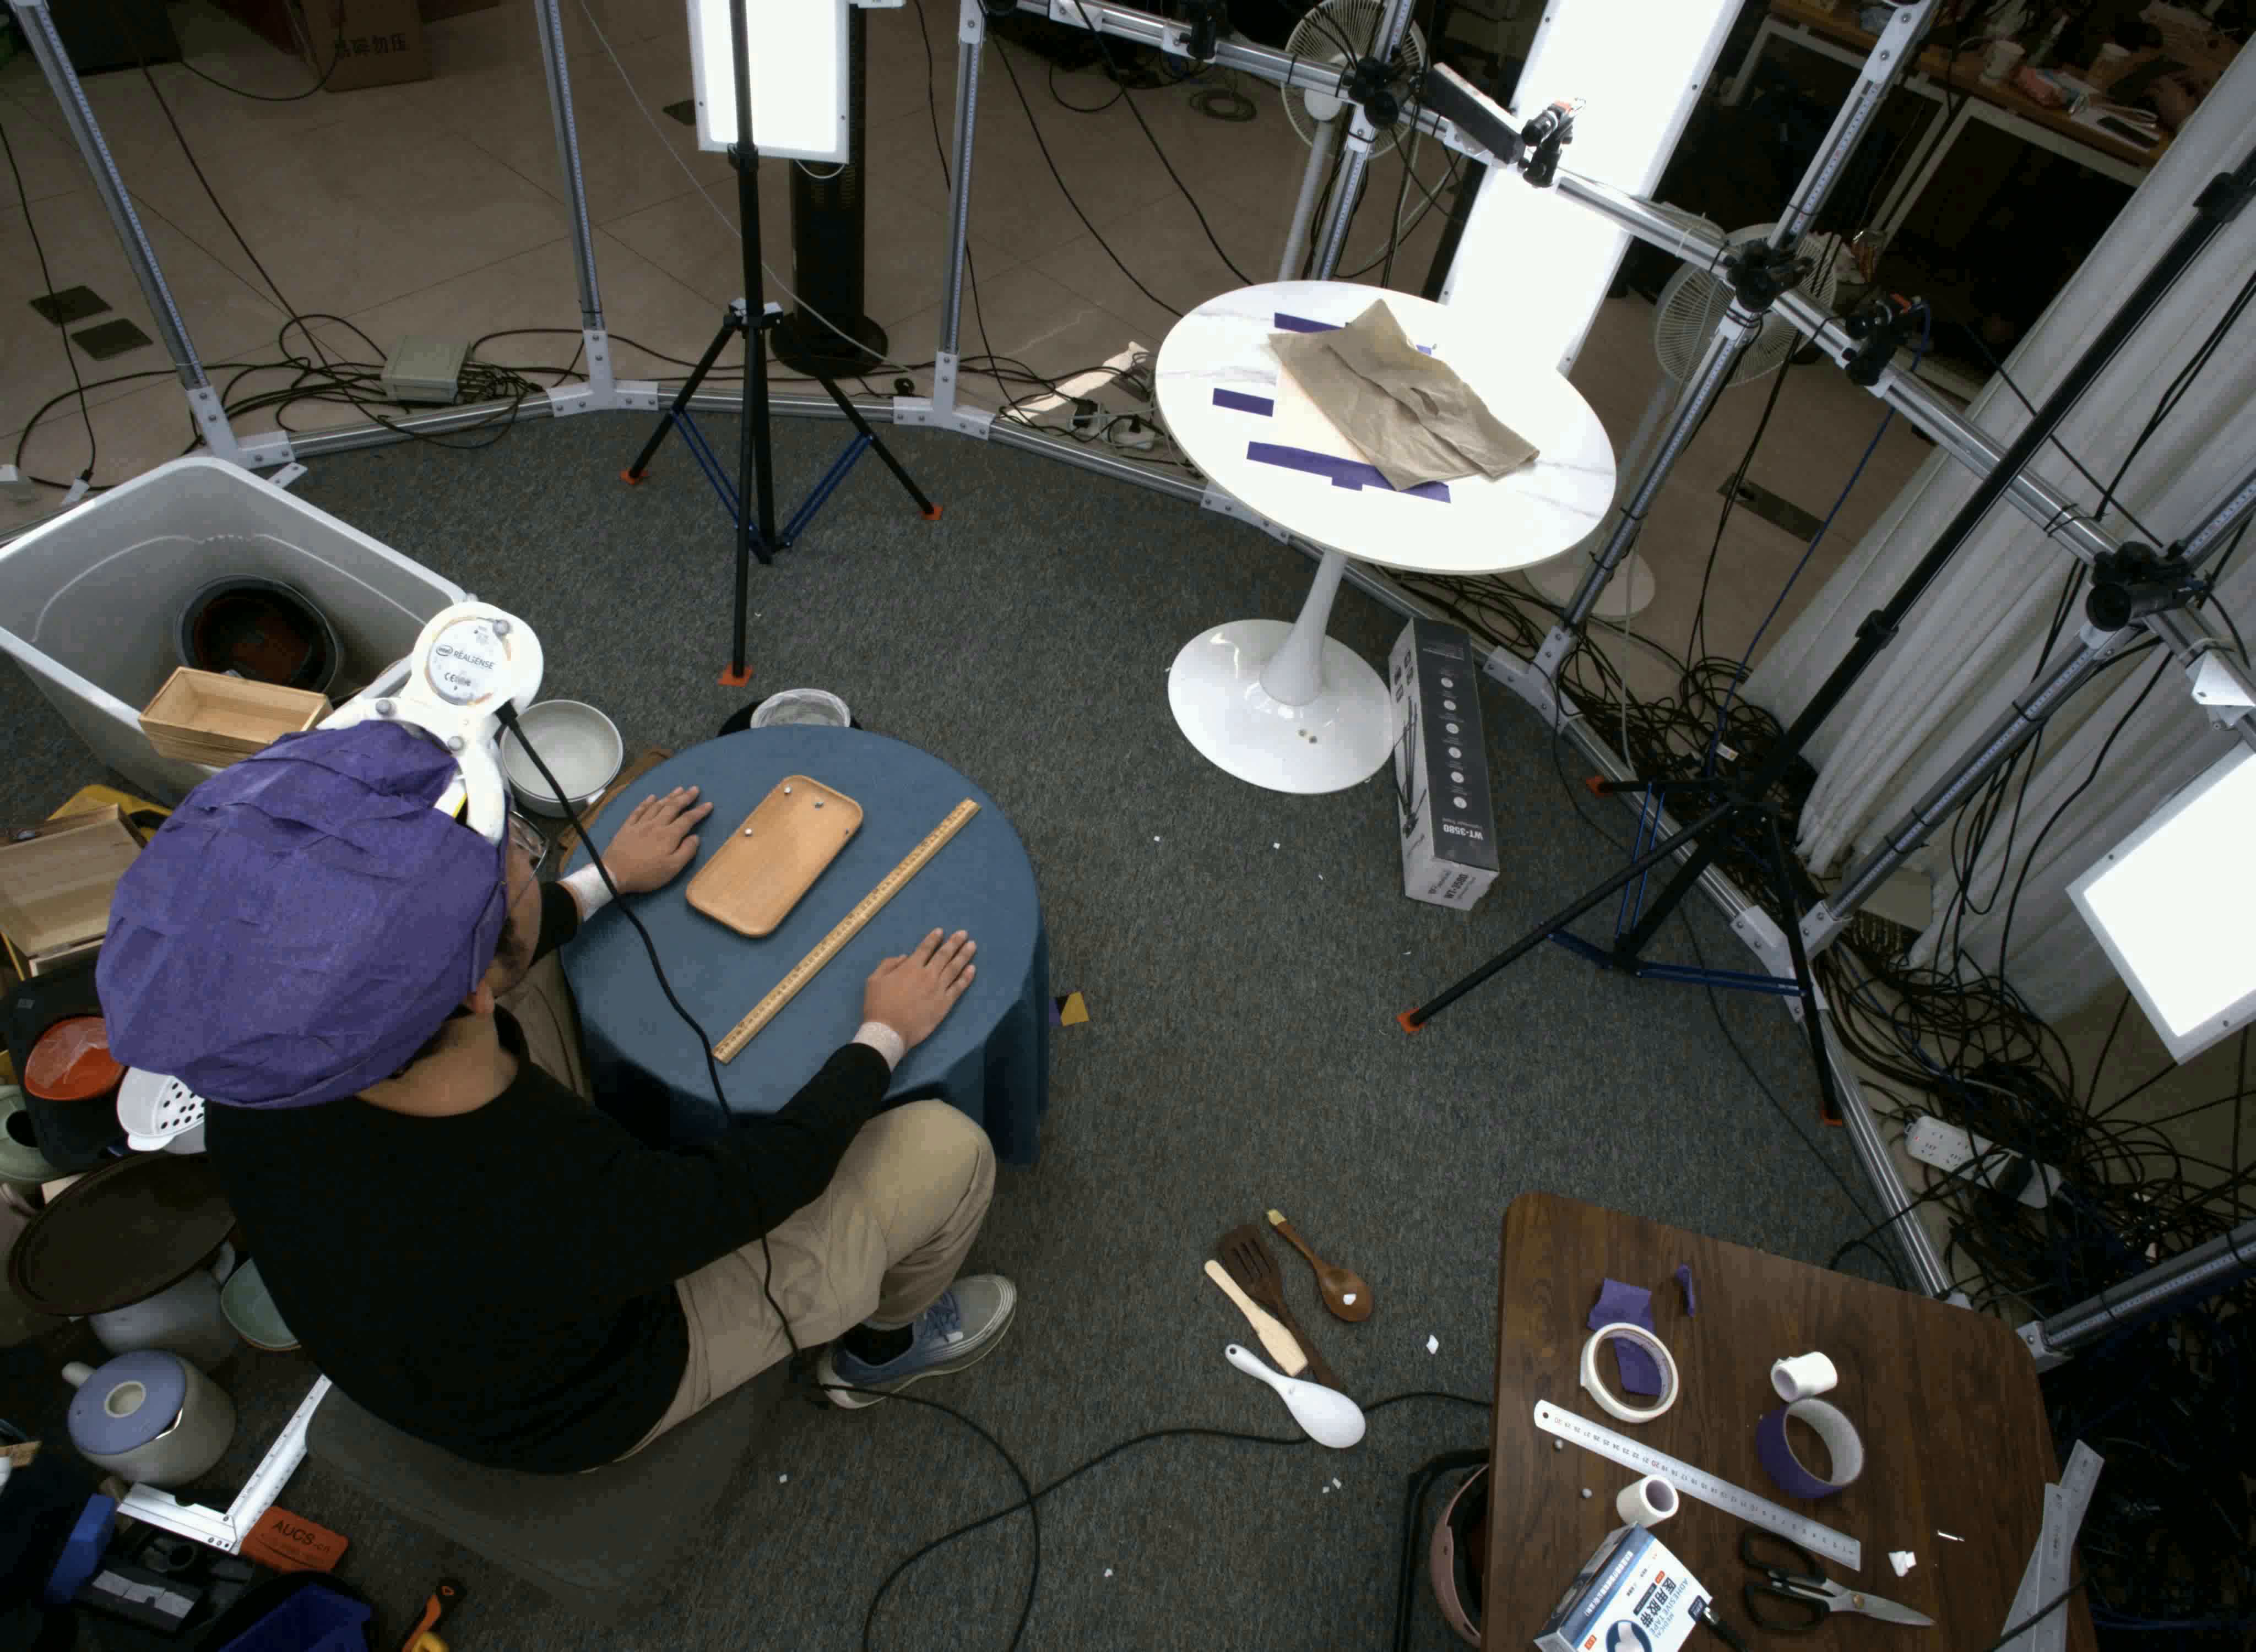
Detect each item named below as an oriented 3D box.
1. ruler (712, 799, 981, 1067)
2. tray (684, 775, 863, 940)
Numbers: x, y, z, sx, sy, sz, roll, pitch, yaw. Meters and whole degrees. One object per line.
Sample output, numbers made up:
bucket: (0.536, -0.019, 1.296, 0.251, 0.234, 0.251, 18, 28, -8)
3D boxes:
ruler: (-0.345, 0.118, 1.648, 0.026, 0.006, 0.499, 32, 53, 13)
tray: (-0.455, 0.036, 1.673, 0.128, 0.023, 0.249, 27, 53, 9)
